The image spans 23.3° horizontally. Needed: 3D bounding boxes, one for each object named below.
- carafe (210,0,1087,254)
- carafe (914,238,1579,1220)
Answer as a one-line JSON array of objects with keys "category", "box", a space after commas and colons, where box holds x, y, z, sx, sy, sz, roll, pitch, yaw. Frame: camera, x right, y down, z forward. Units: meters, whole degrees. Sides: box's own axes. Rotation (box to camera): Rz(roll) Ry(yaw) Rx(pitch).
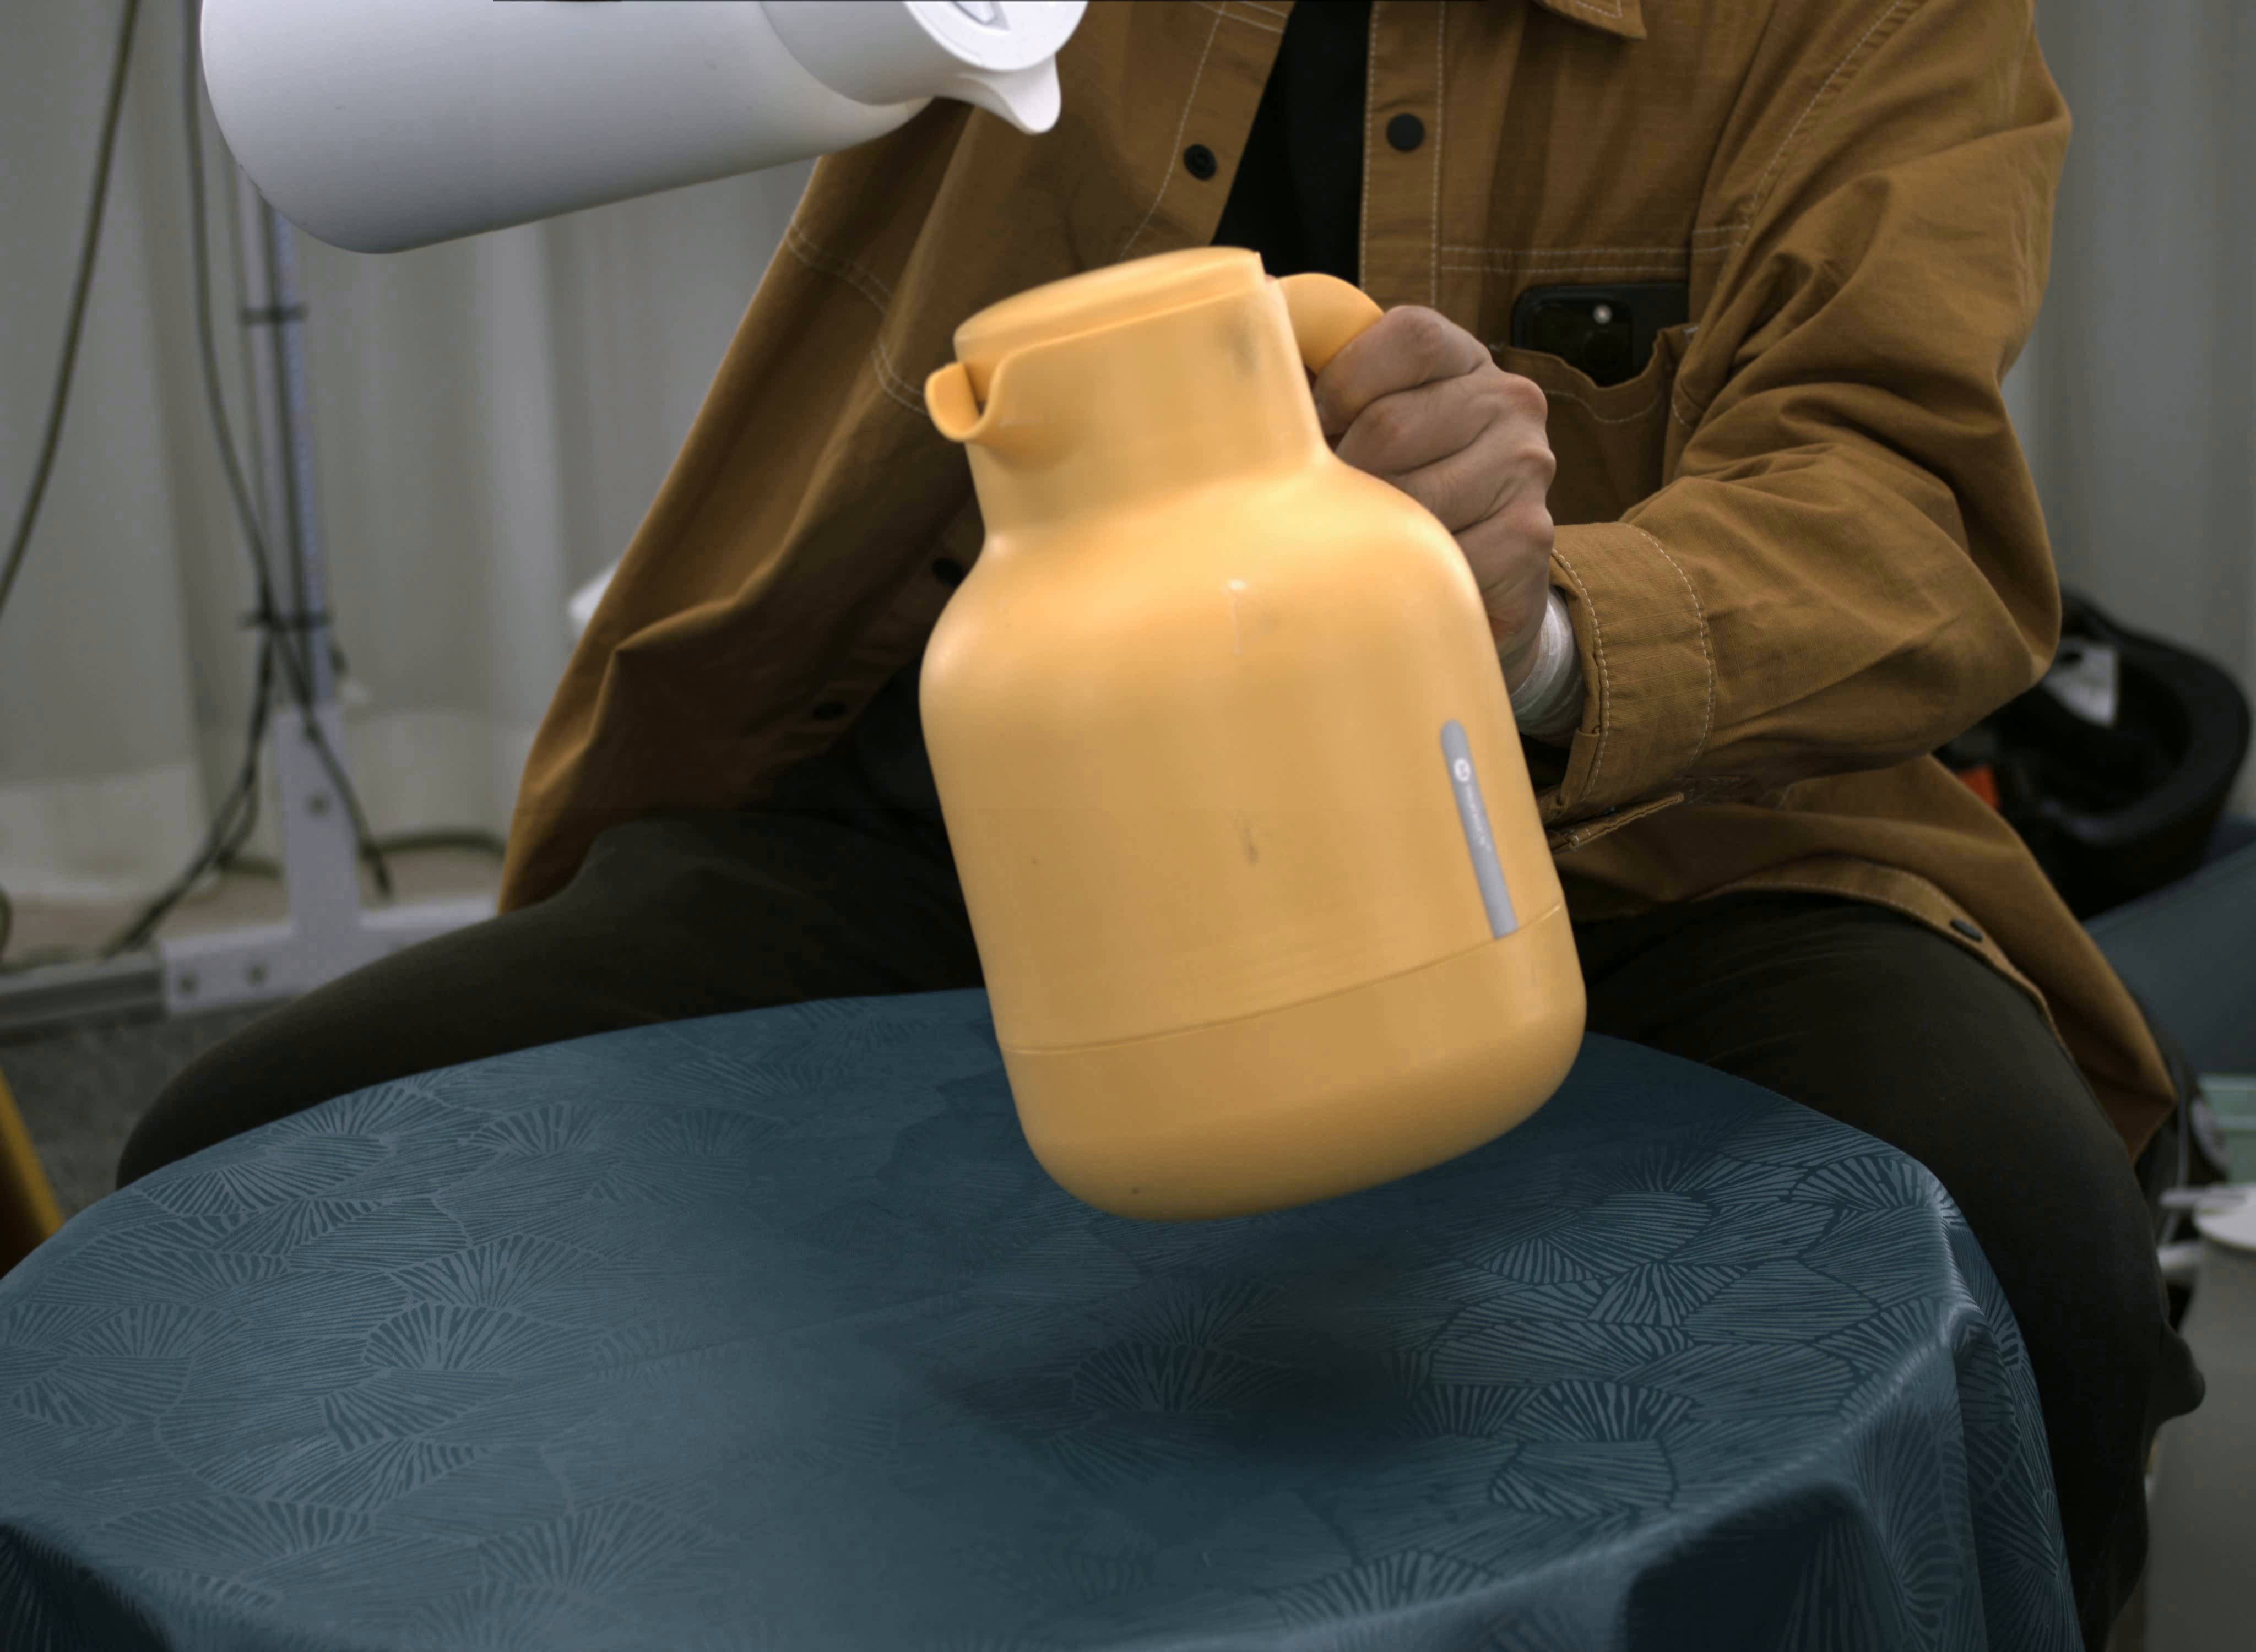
[{"category": "carafe", "box": [-0.145, -0.257, 1.576, 0.269, 0.172, 0.124, -7, 24, 42]}, {"category": "carafe", "box": [0.036, -0.036, 1.534, 0.163, 0.260, 0.202, -7, 10, 42]}]
